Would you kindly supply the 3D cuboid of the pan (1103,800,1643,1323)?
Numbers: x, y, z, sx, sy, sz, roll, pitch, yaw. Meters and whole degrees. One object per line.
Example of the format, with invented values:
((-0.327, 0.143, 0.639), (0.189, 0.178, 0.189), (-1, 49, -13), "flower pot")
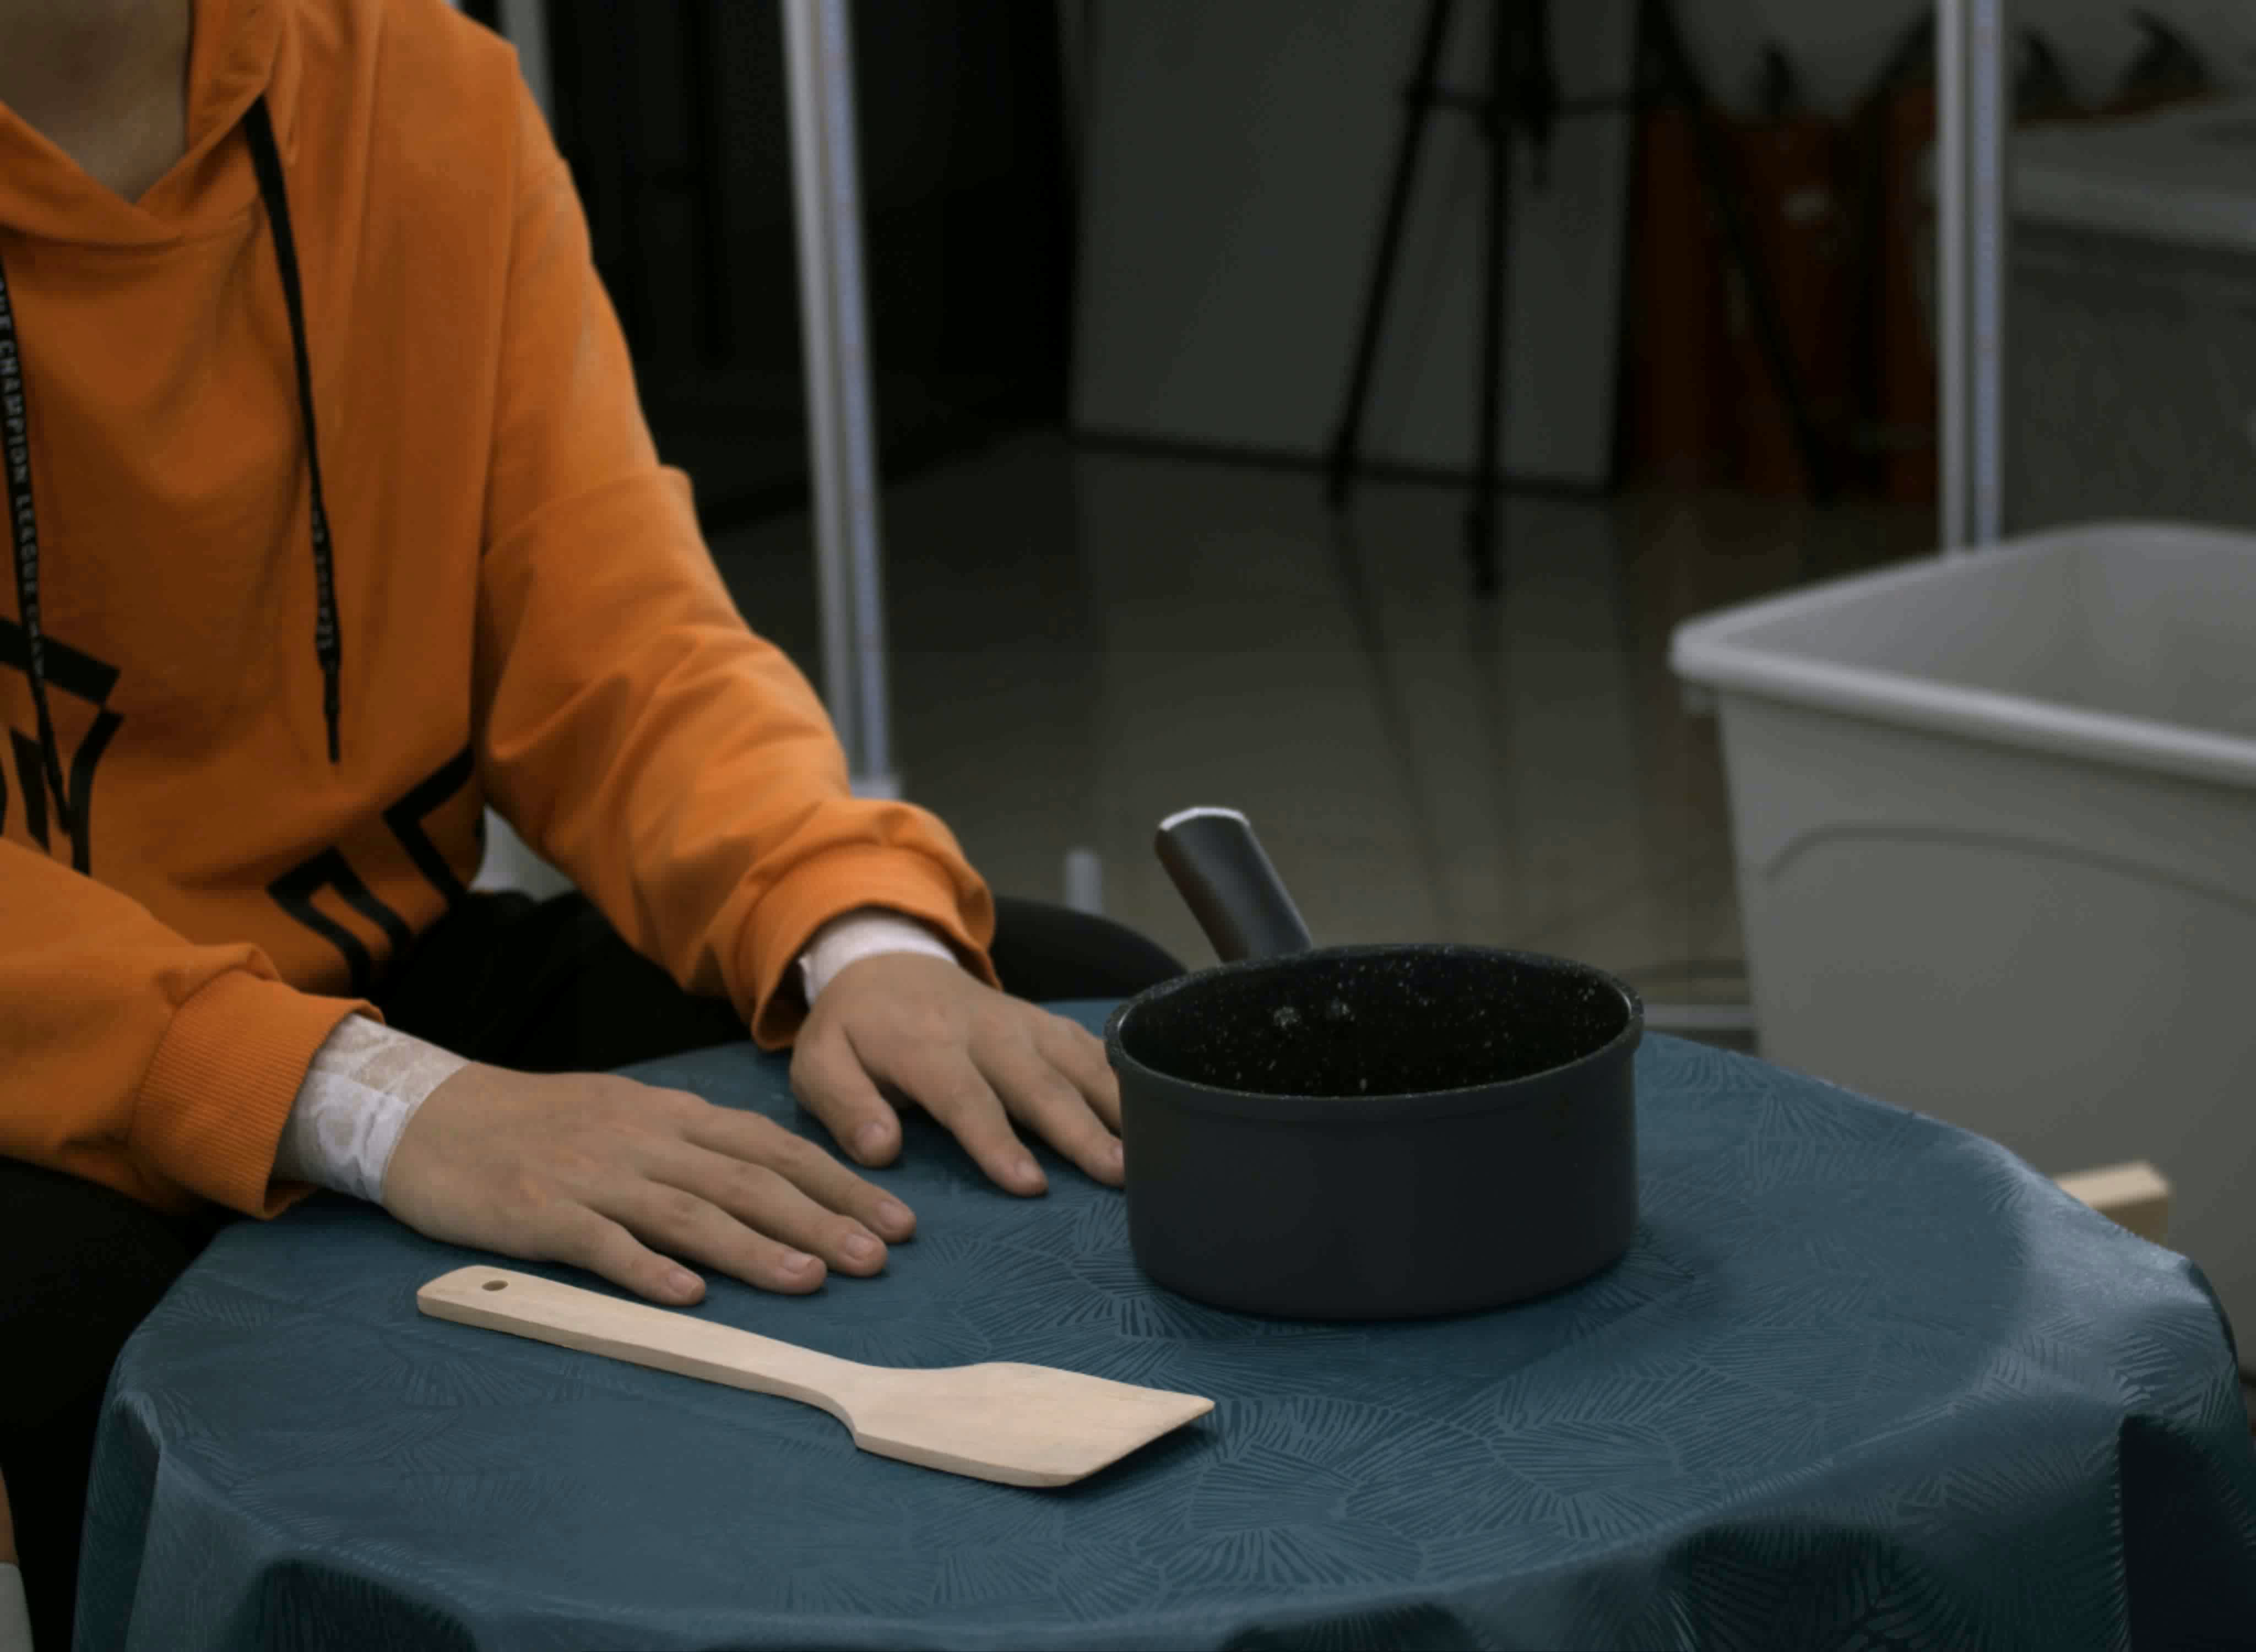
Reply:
((0.065, 0.073, 1.768), (0.169, 0.087, 0.330), (-5, 15, -8), "pan")

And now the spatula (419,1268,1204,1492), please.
((-0.108, 0.162, 1.618), (0.295, 0.011, 0.071), (8, 22, 40), "spatula")
